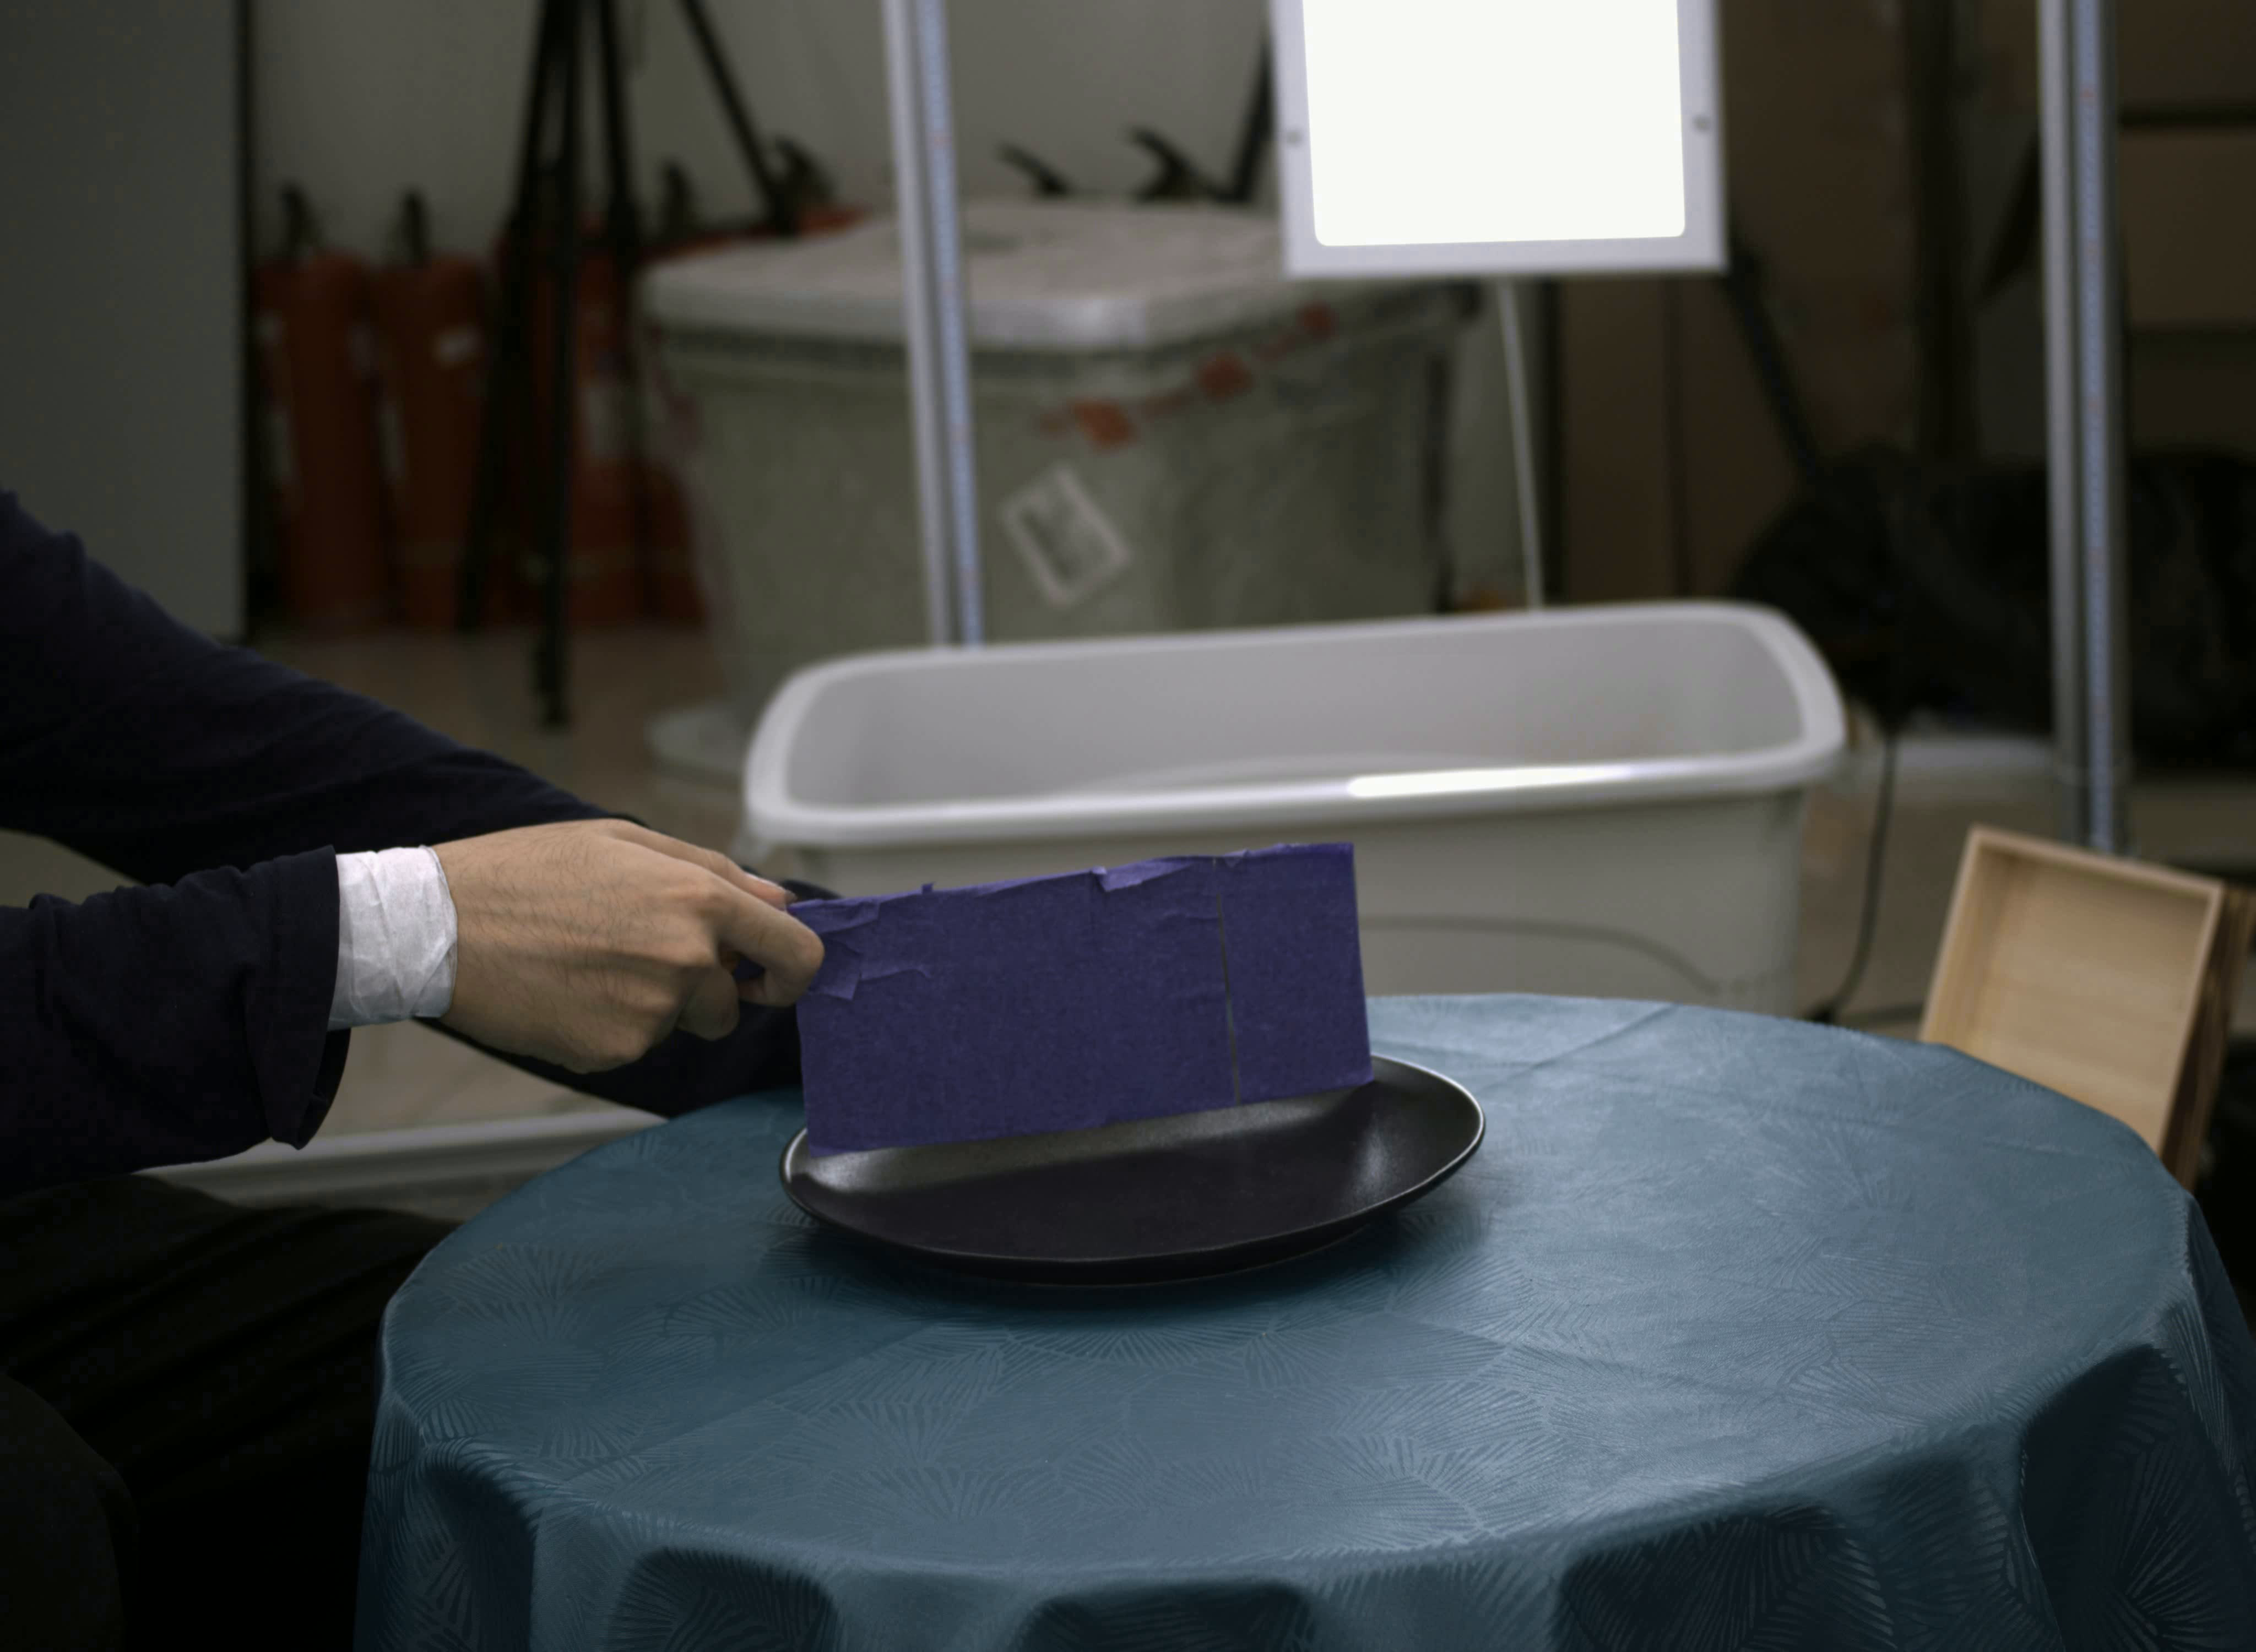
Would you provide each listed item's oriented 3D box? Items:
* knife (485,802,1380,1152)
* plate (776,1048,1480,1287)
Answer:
[{"bbox_3d":[-0.062,0.062,1.899,0.311,0.104,0.032,-8,9,-11],"label":"knife"},{"bbox_3d":[0.000,0.118,1.886,0.244,0.023,0.244,-5,15,0],"label":"plate"}]
